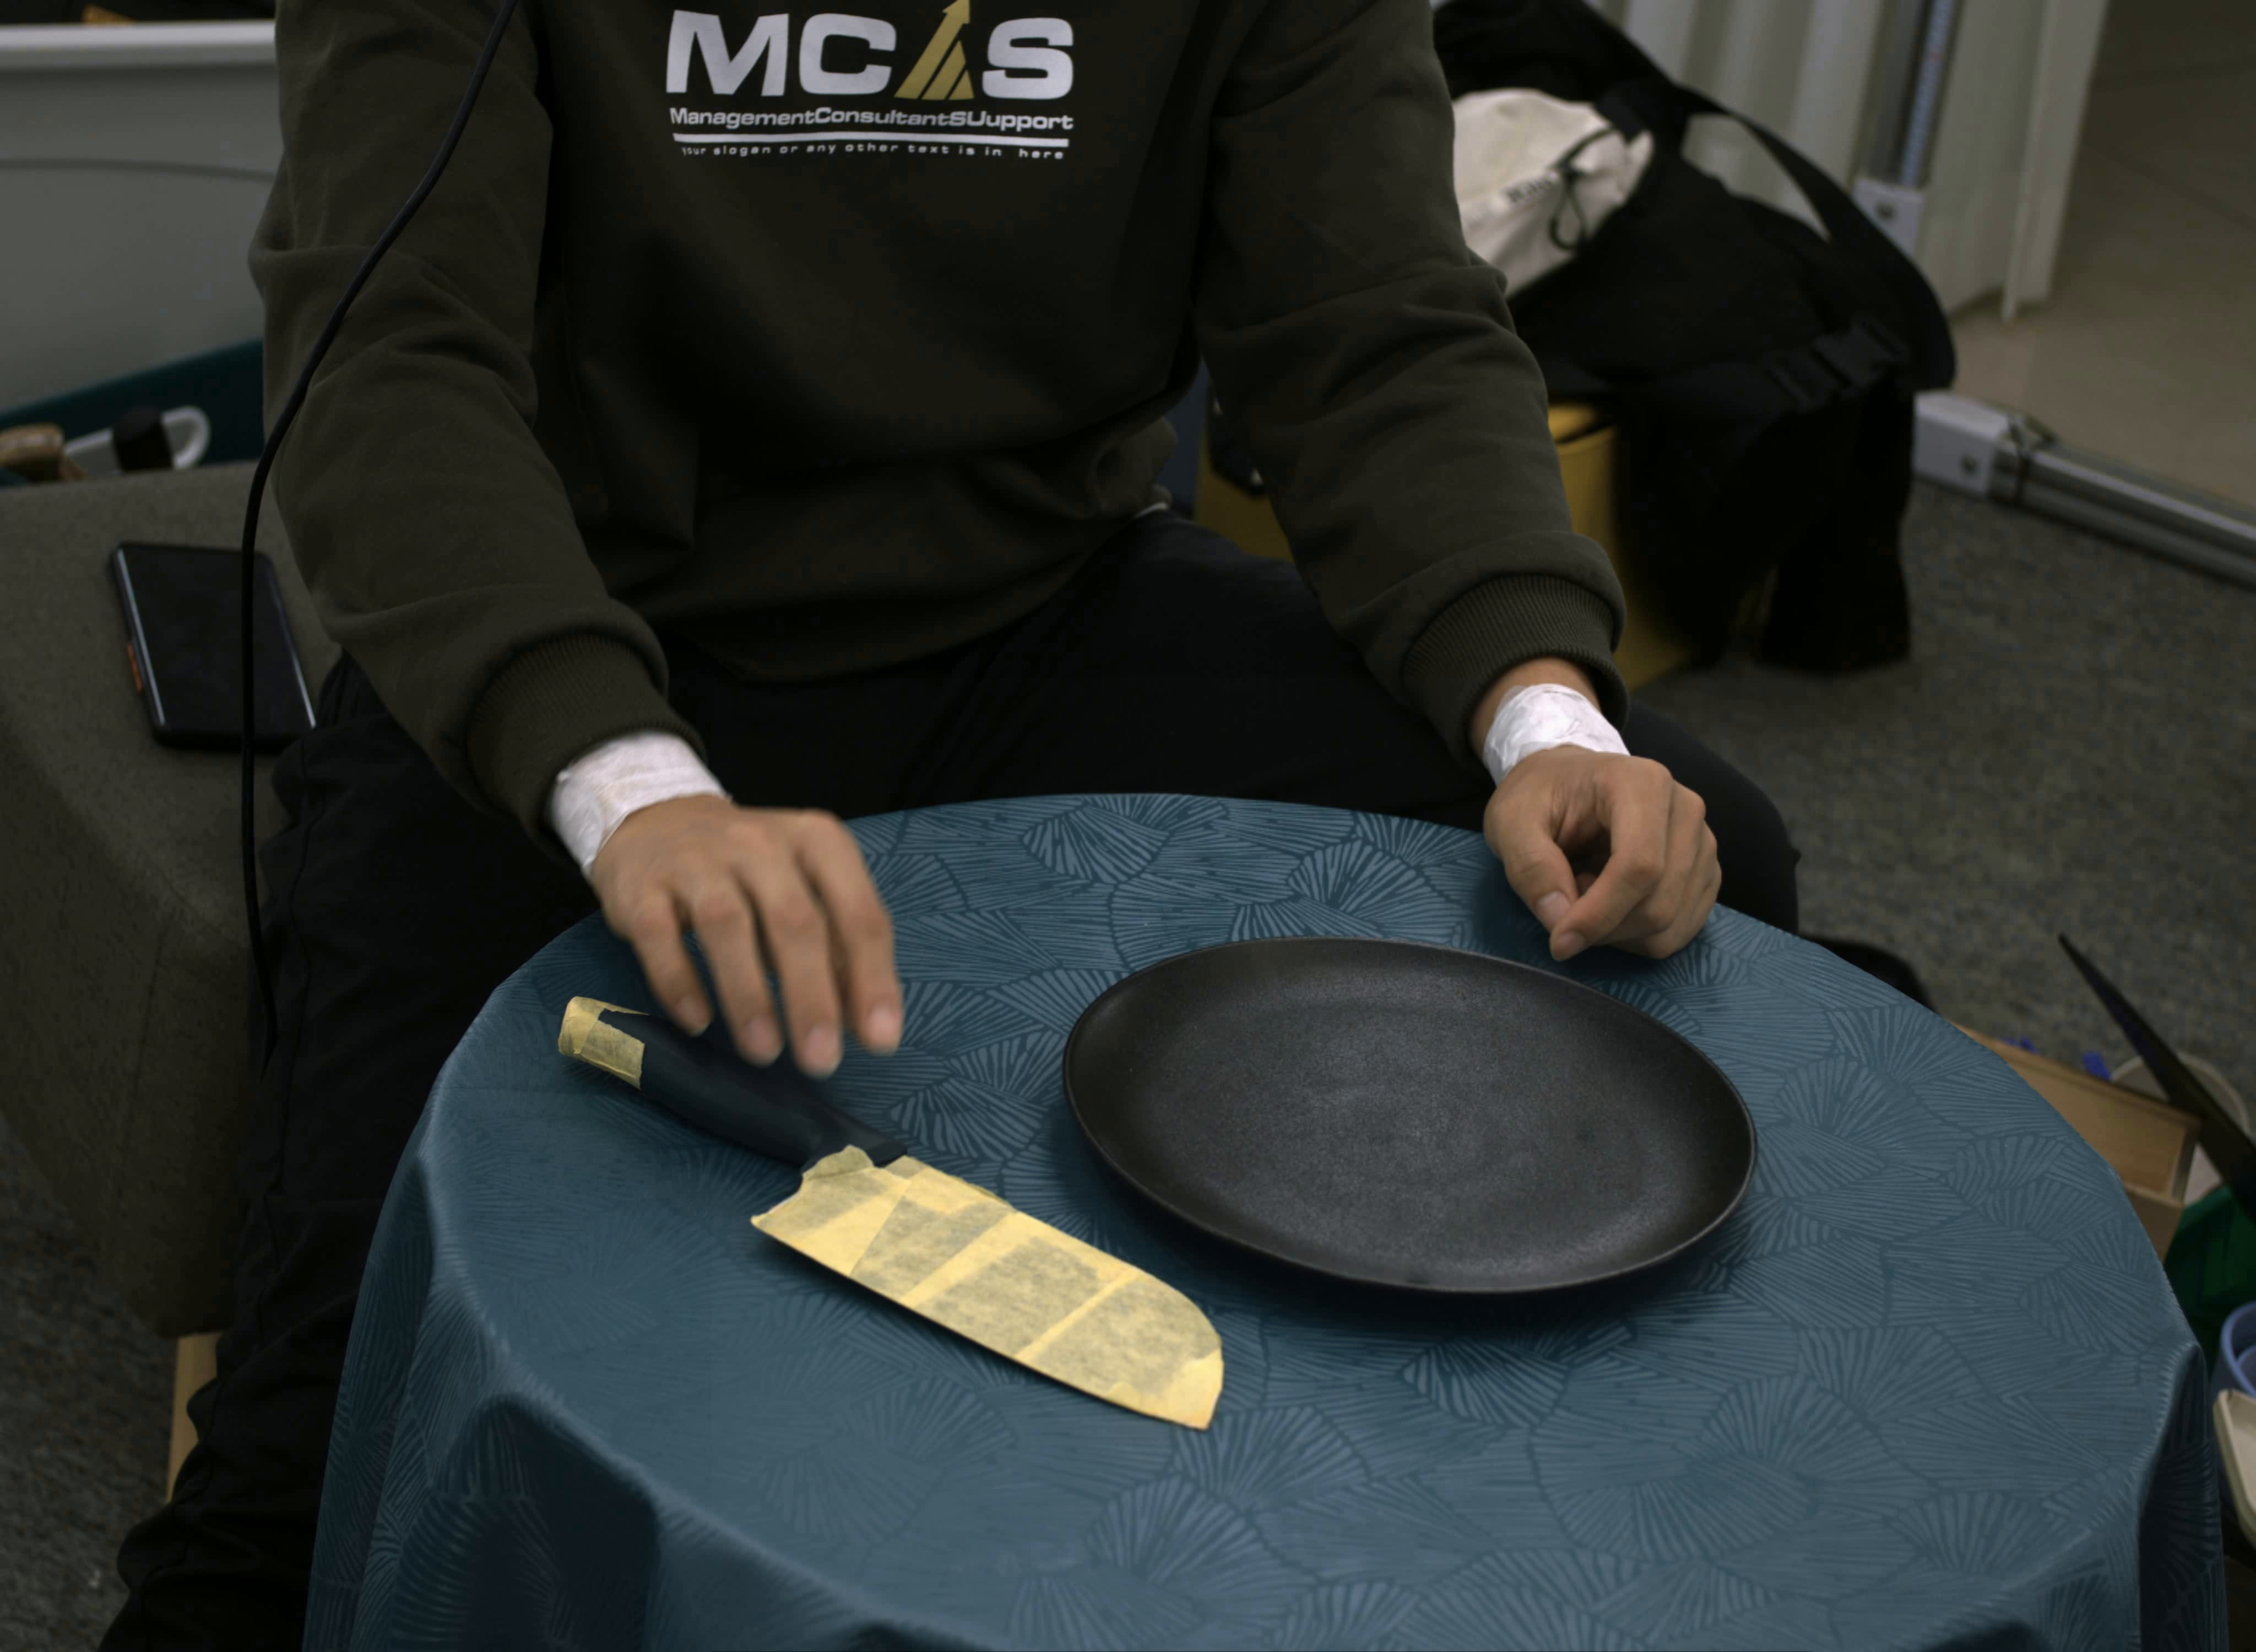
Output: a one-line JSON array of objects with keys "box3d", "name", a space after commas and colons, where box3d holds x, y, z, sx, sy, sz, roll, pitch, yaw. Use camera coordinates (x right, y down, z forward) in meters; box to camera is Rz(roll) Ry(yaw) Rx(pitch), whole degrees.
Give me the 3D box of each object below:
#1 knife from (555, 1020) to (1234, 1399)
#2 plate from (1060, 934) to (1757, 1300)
[{"box3d": [-0.085, 0.128, 1.761, 0.291, 0.027, 0.081, 24, 30, 29], "name": "knife"}, {"box3d": [0.096, 0.104, 1.840, 0.243, 0.023, 0.246, 5, 27, -3], "name": "plate"}]
